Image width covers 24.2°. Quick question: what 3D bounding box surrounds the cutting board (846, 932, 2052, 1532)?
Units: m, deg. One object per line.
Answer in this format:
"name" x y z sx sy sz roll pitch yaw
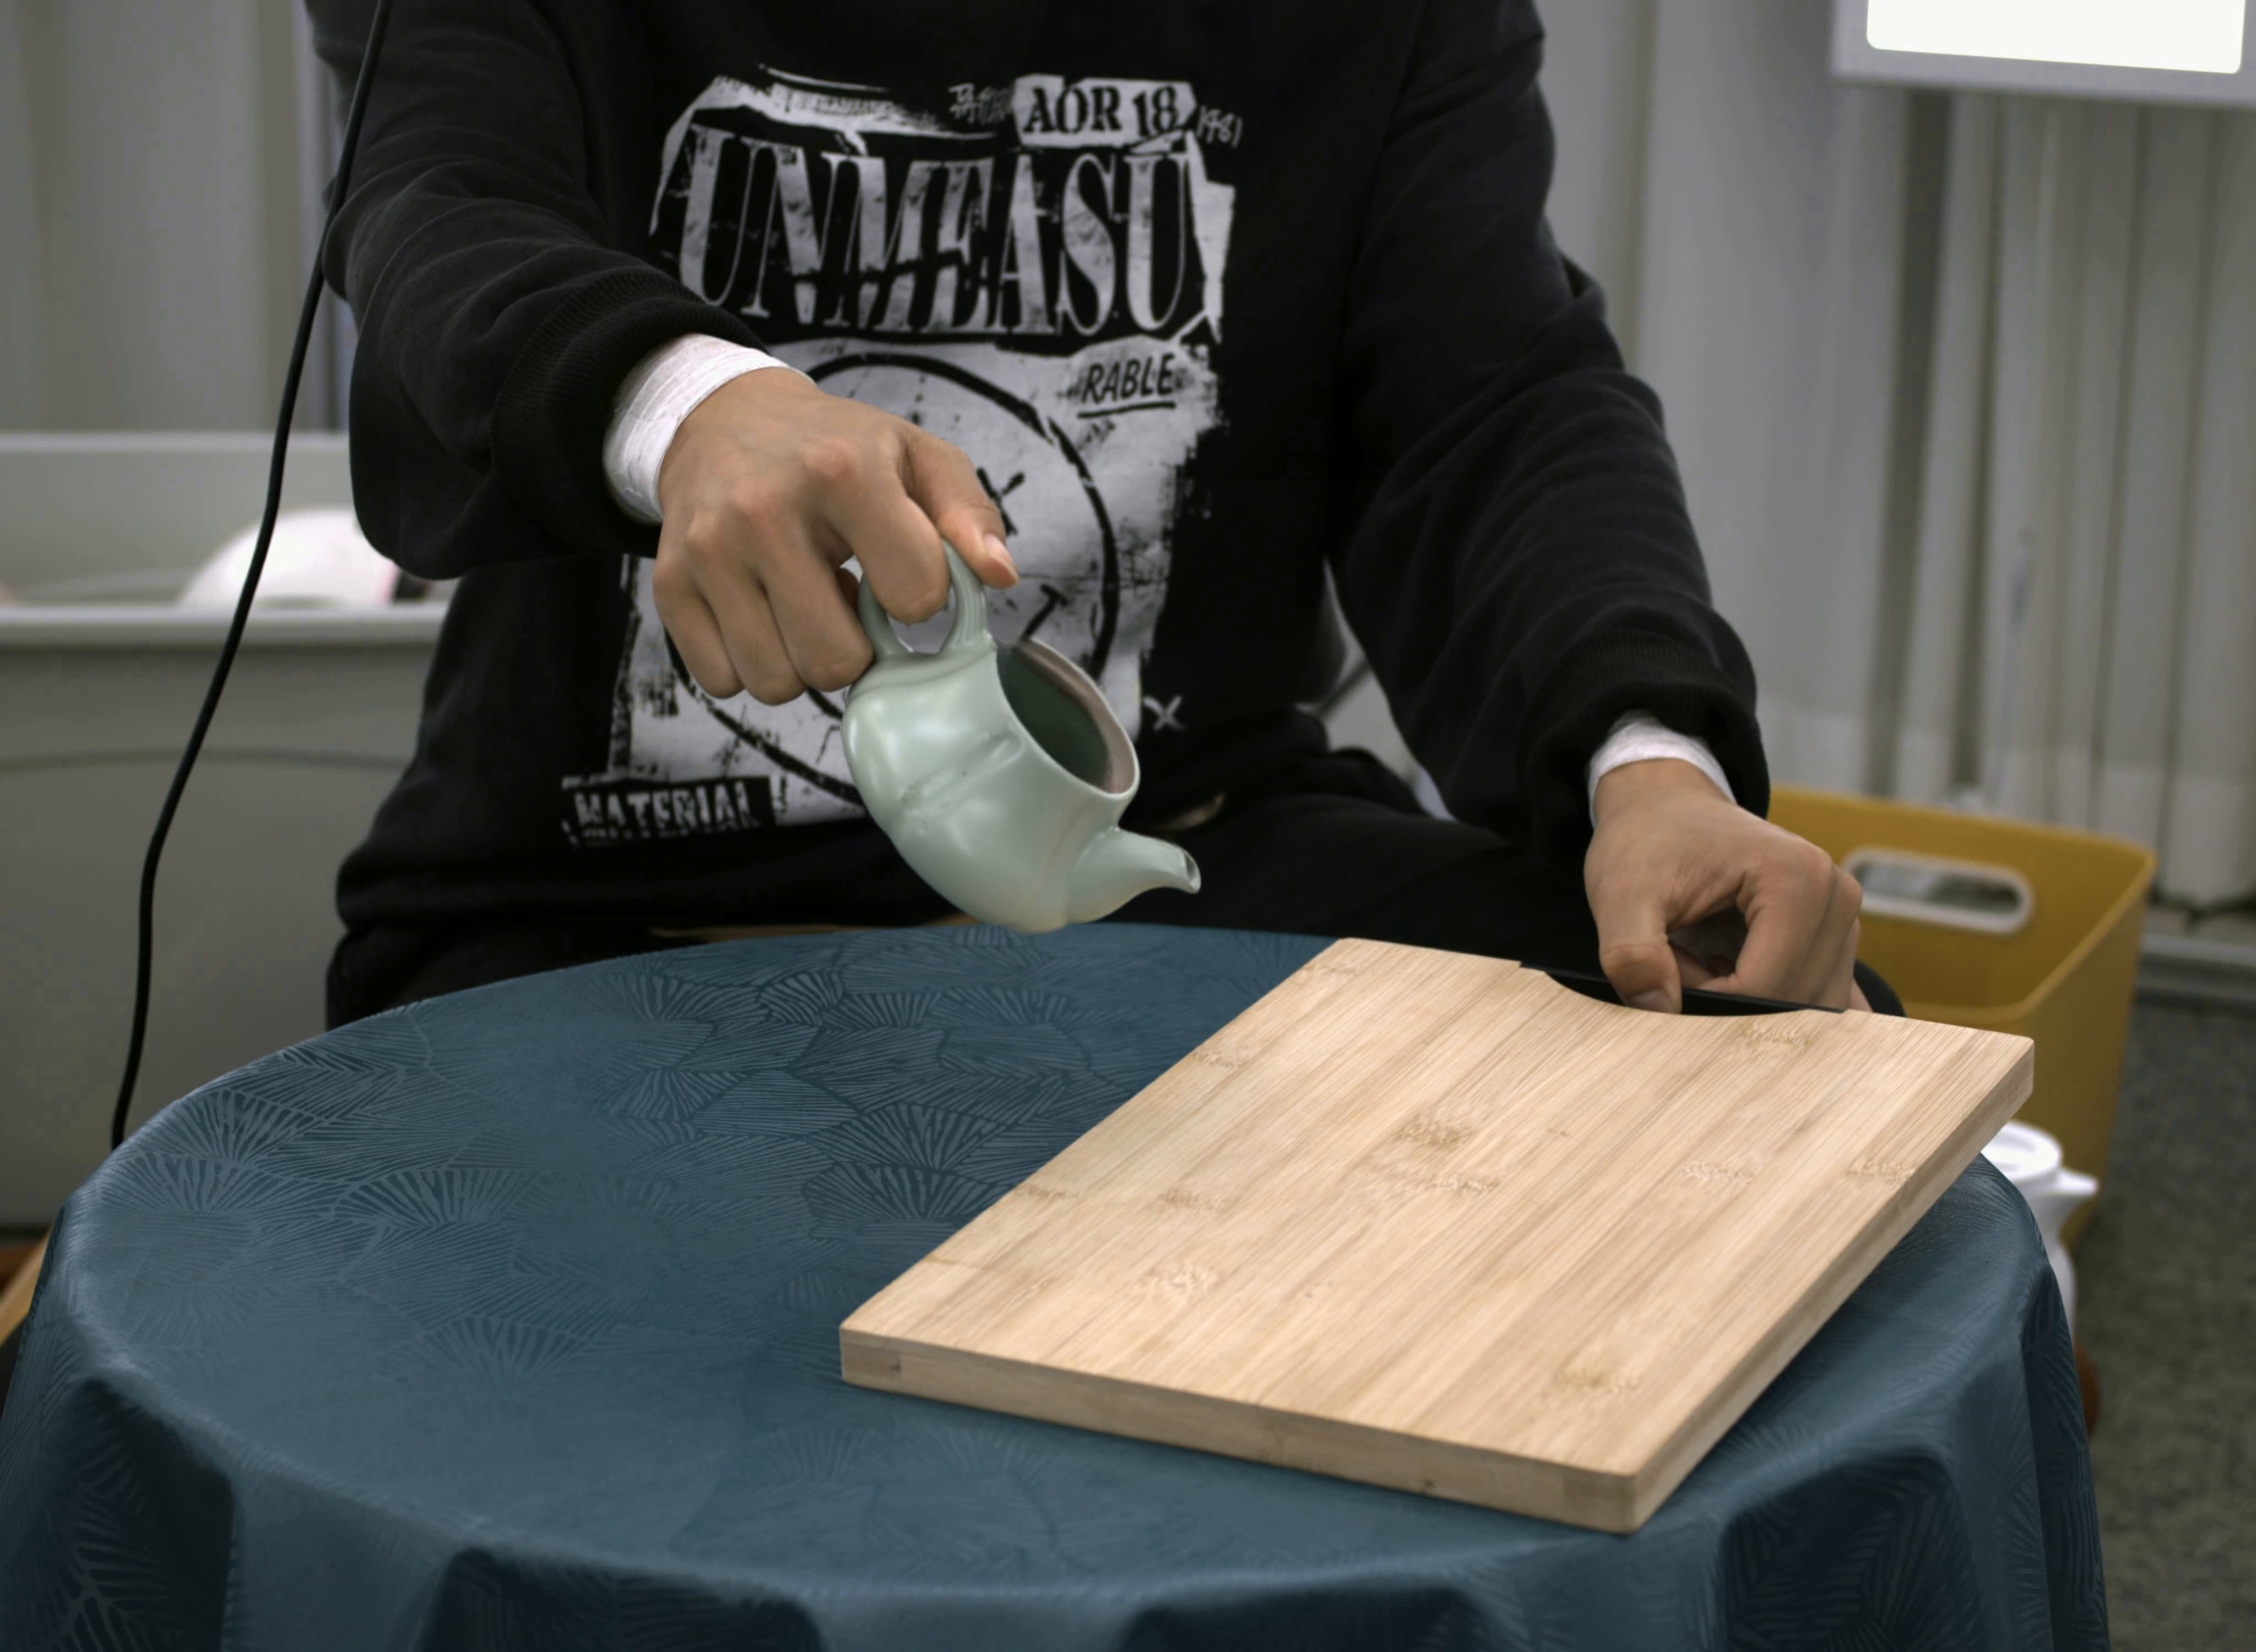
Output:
"cutting board" 0.104 0.110 1.561 0.248 0.024 0.349 8 21 24

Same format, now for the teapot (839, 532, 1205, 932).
"teapot" -0.040 -0.021 1.536 0.061 0.137 0.096 -39 -2 24
